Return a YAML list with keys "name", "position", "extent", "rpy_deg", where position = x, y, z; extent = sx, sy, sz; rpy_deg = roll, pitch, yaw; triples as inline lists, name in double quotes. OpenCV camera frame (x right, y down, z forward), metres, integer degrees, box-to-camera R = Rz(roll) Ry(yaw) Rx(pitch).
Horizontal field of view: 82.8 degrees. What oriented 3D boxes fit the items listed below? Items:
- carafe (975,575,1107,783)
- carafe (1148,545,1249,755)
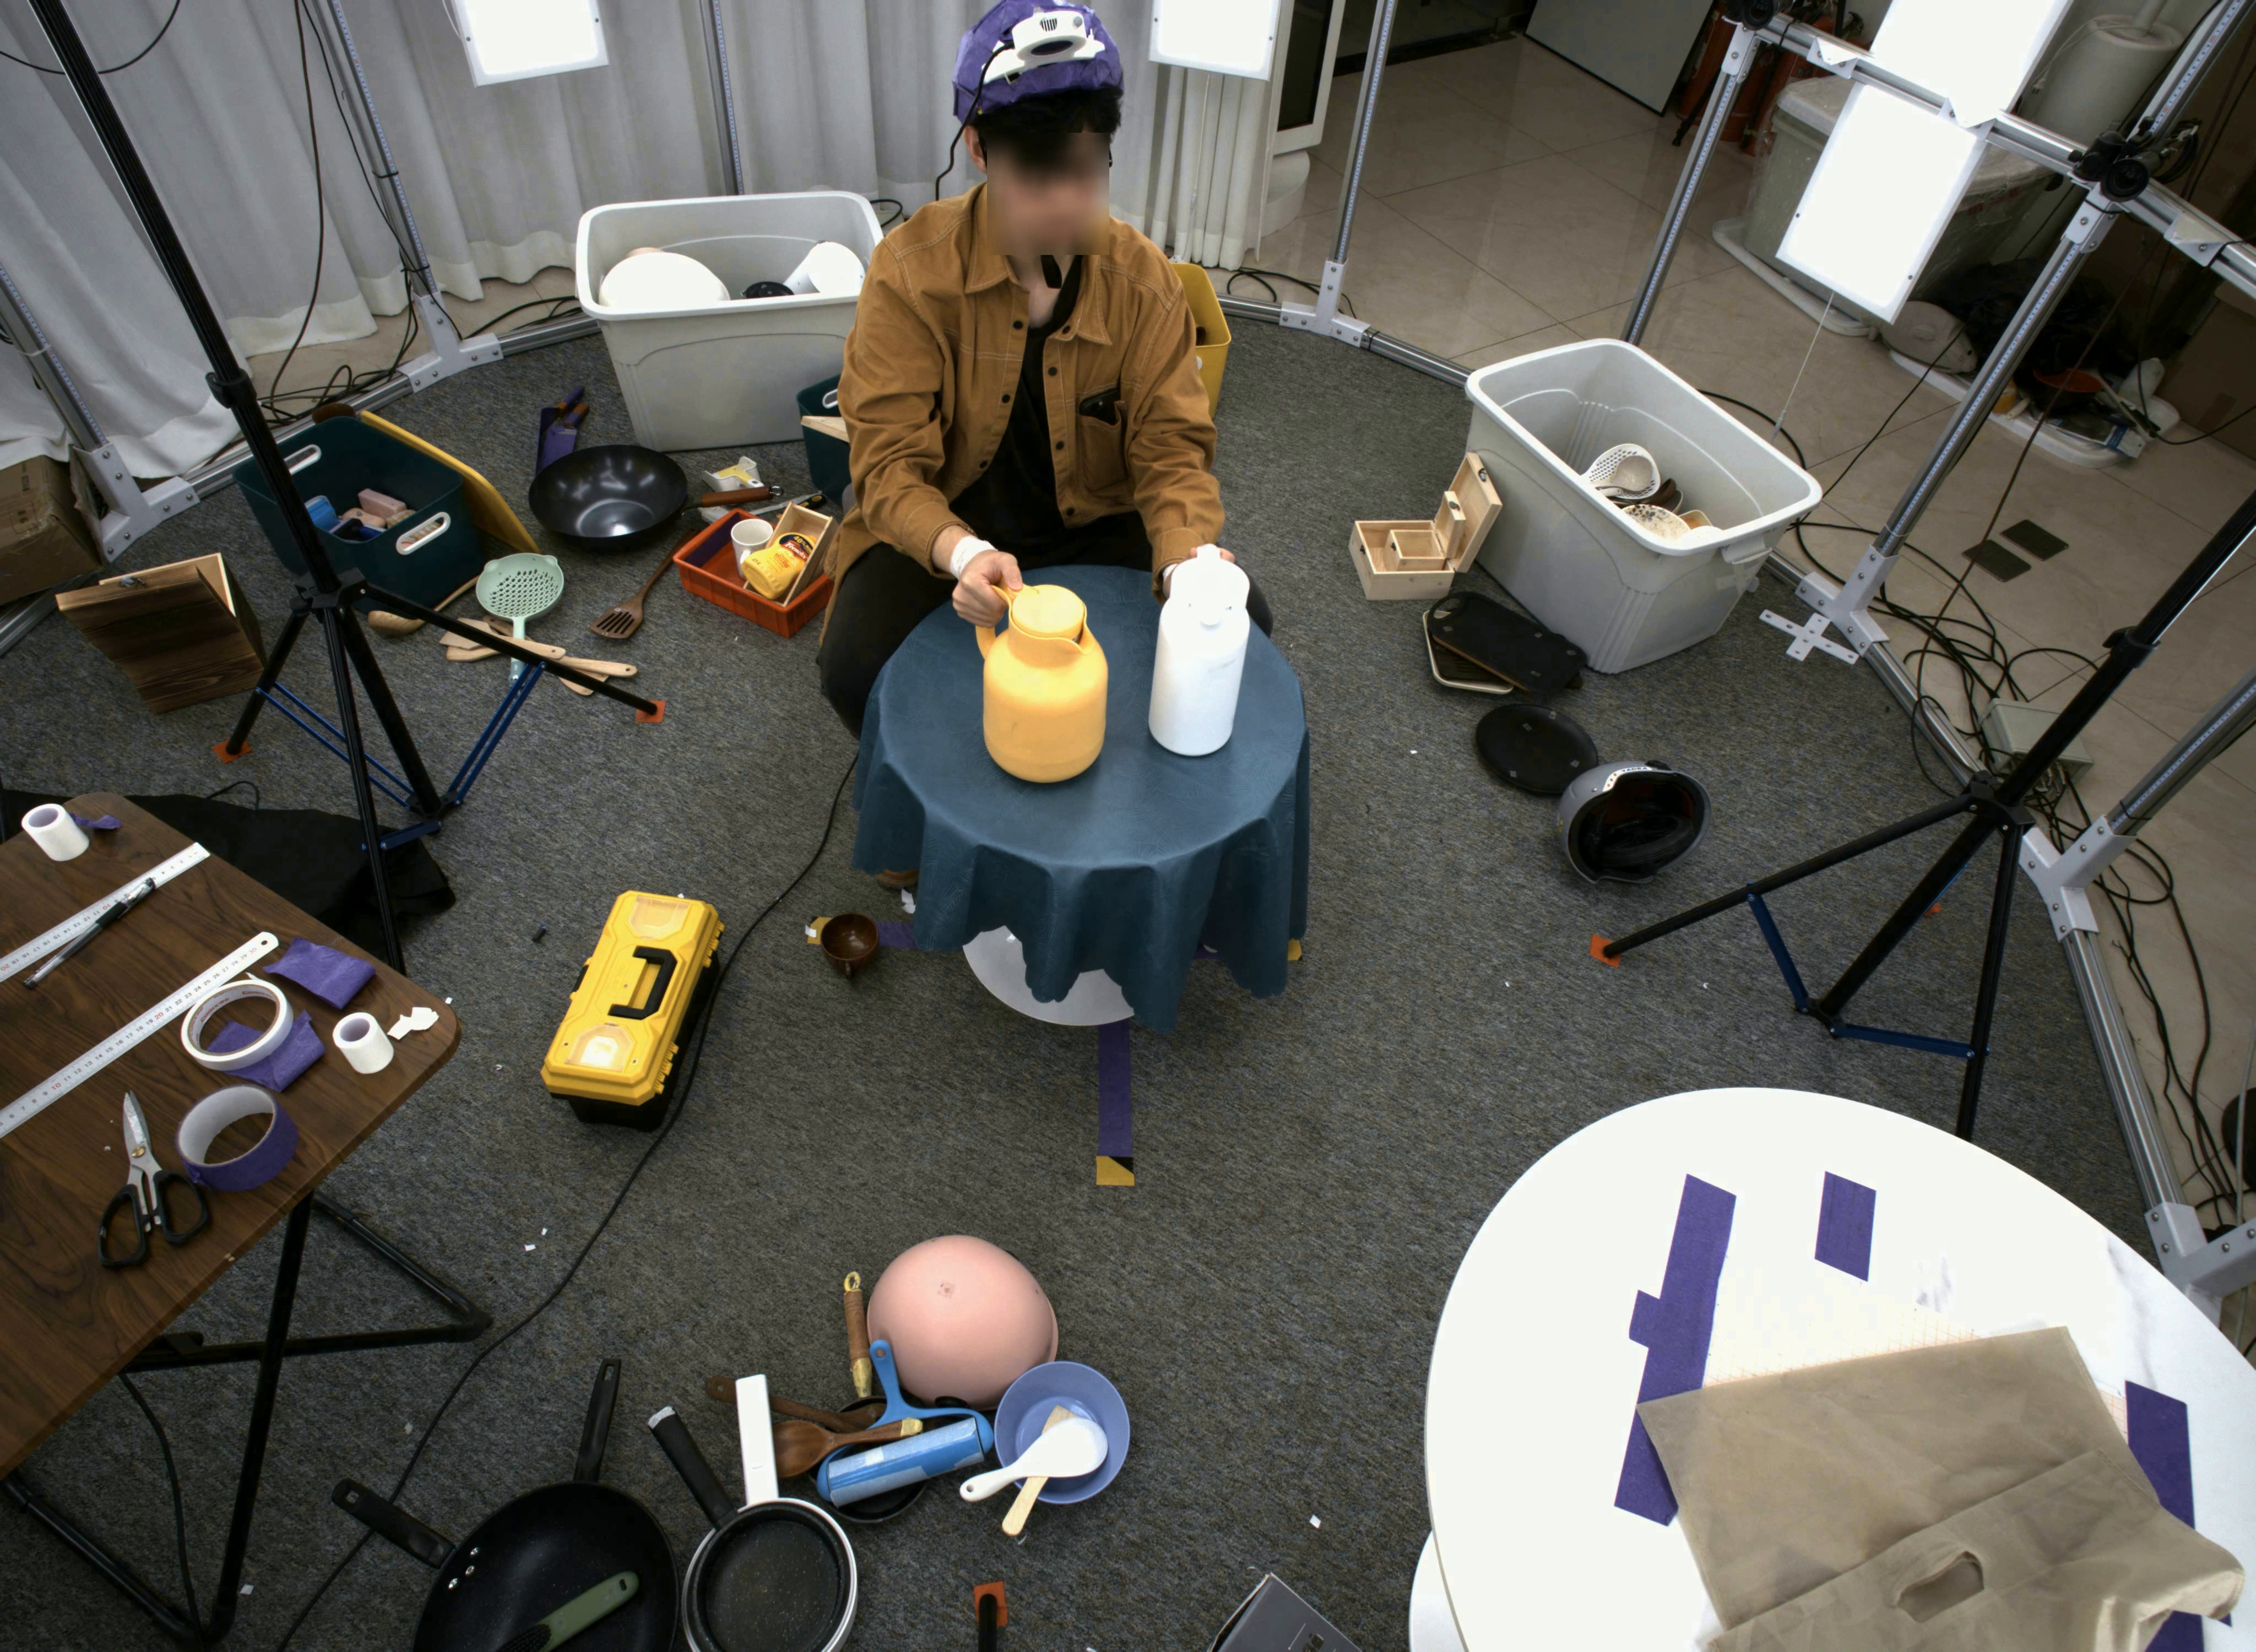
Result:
- name: "carafe"
  position: [-0.121, -0.199, 1.665]
  extent: [0.165, 0.254, 0.205]
  rpy_deg: [-33, 60, -31]
- name: "carafe"
  position: [0.093, -0.235, 1.706]
  extent: [0.124, 0.262, 0.177]
  rpy_deg: [2, 49, 0]
